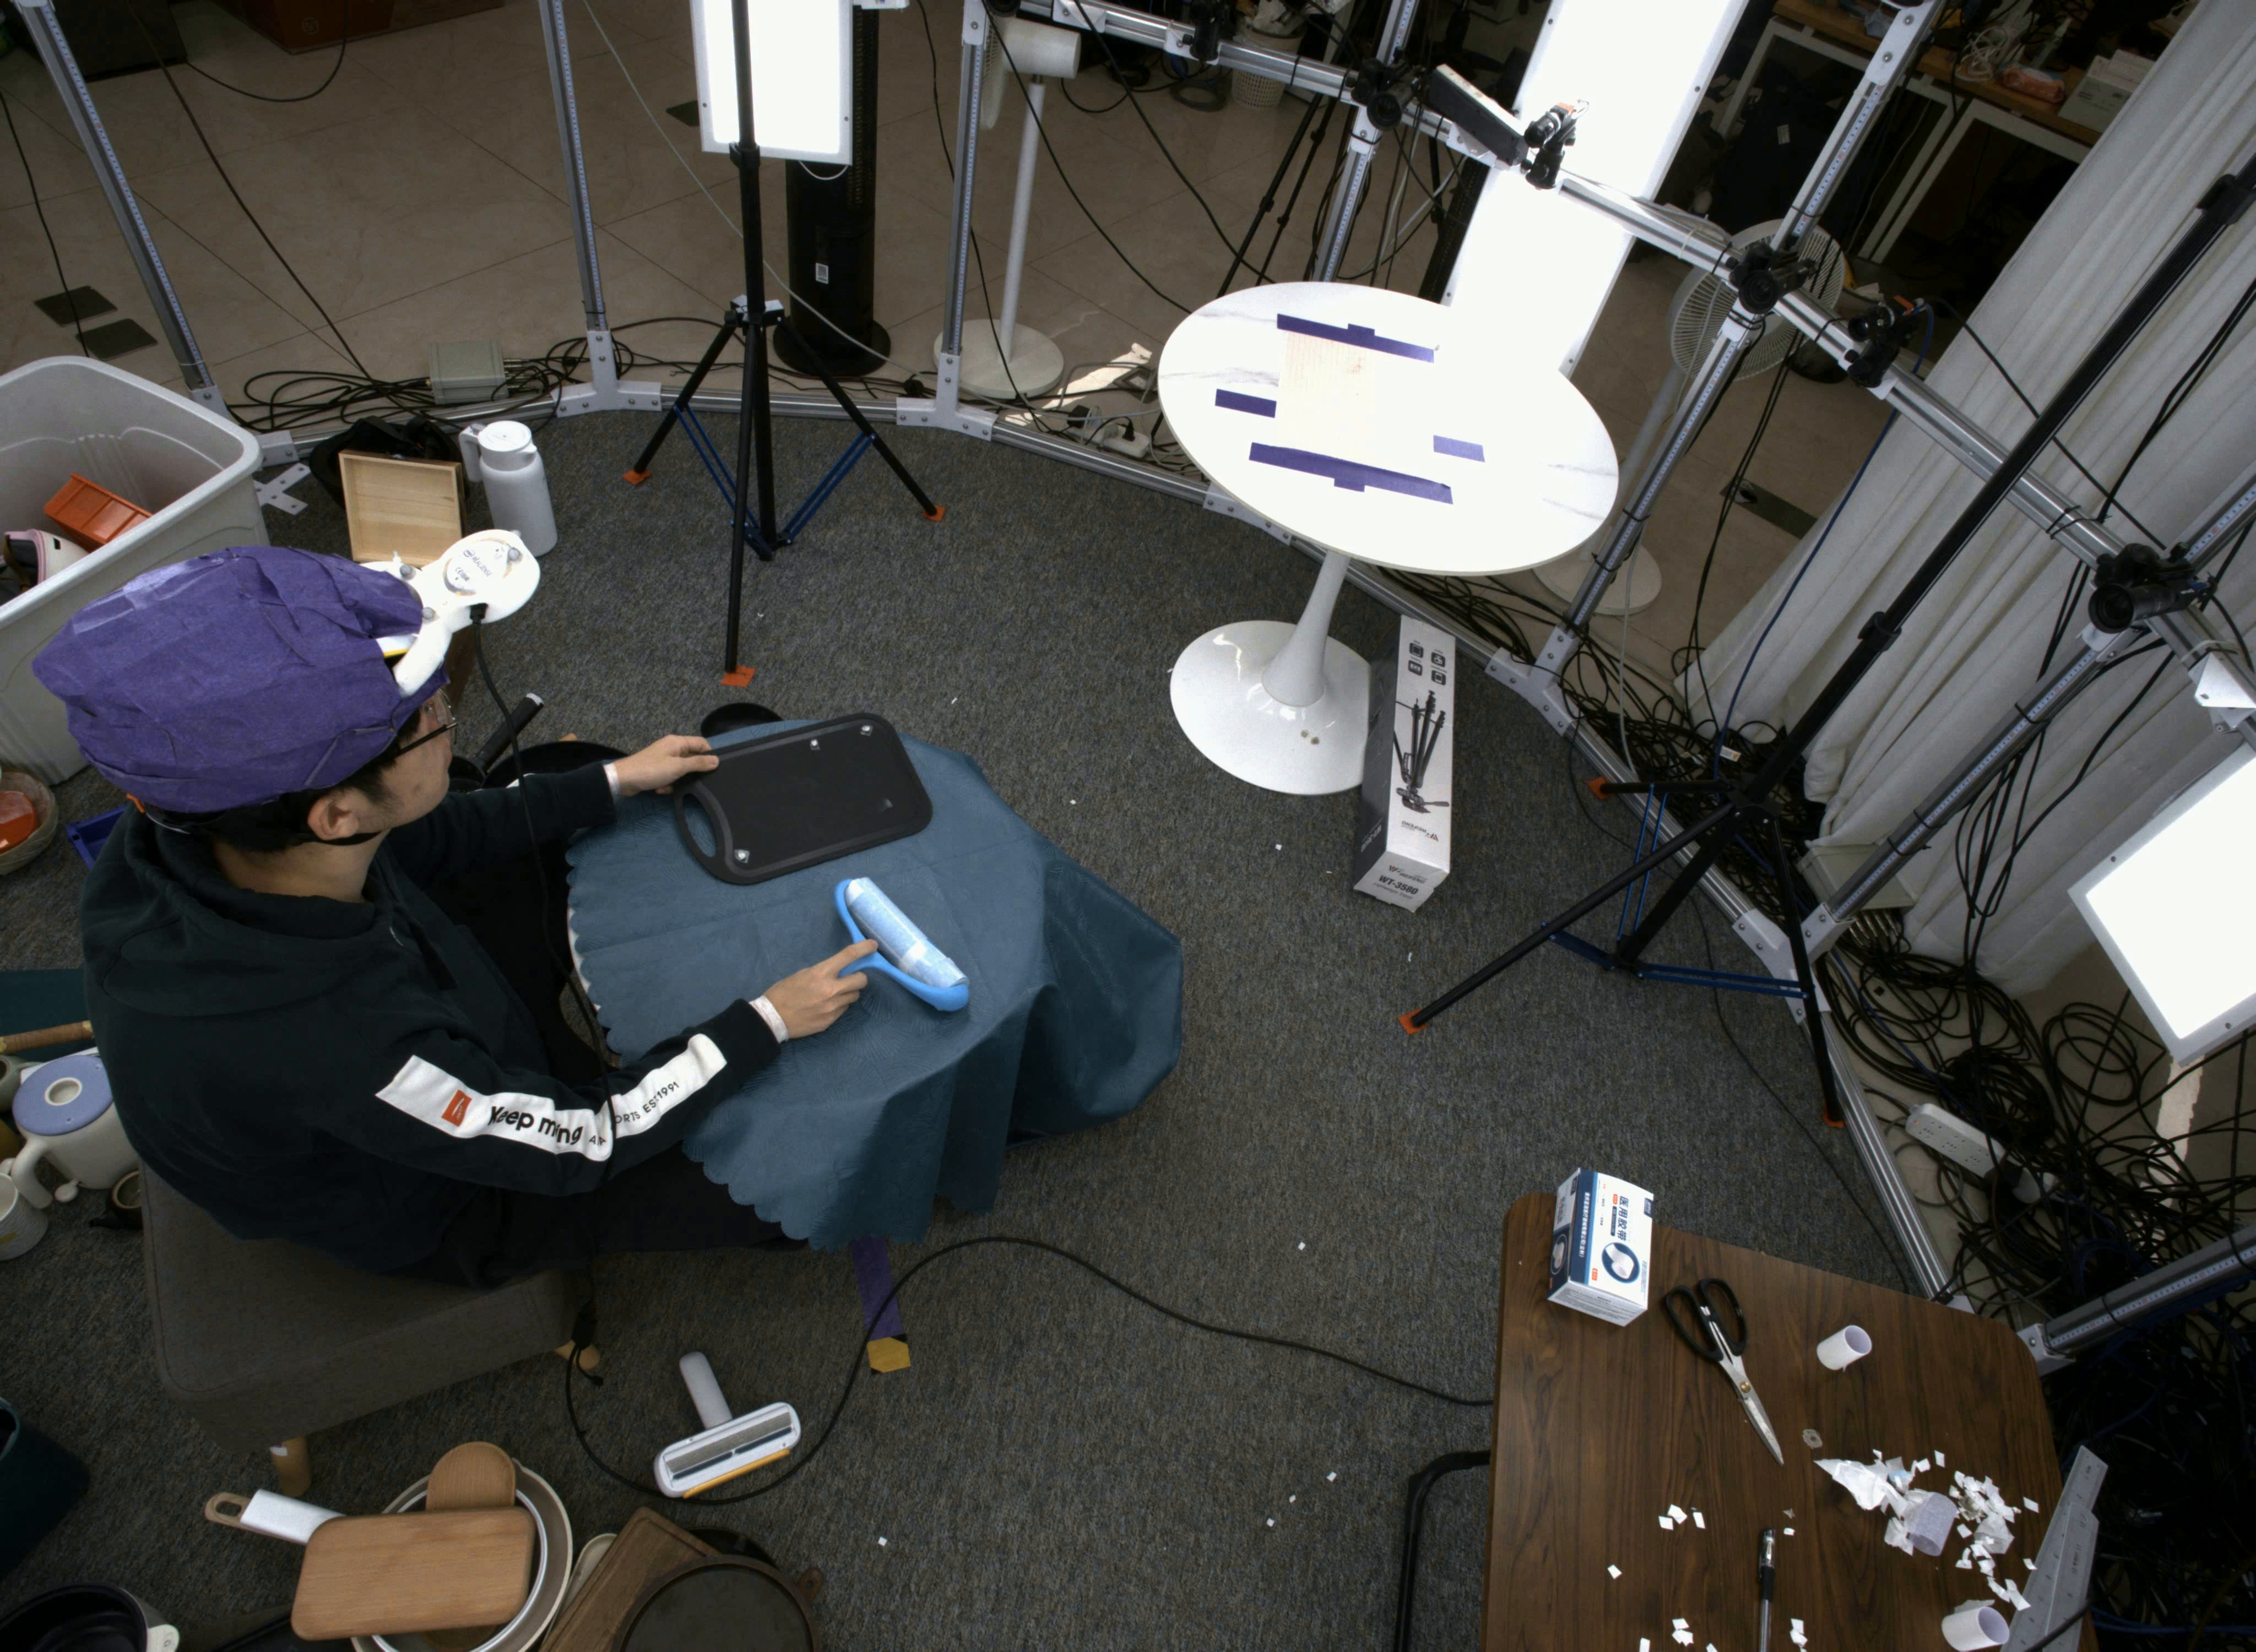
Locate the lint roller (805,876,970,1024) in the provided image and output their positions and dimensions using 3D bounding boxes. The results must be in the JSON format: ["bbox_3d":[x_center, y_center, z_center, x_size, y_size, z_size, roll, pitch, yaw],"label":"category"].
[{"bbox_3d":[-0.320,0.172,1.594,0.224,0.069,0.180,41,54,14],"label":"lint roller"}]

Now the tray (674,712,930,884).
[{"bbox_3d":[-0.440,-0.042,1.736,0.327,0.010,0.207,-18,68,-26],"label":"tray"}]
